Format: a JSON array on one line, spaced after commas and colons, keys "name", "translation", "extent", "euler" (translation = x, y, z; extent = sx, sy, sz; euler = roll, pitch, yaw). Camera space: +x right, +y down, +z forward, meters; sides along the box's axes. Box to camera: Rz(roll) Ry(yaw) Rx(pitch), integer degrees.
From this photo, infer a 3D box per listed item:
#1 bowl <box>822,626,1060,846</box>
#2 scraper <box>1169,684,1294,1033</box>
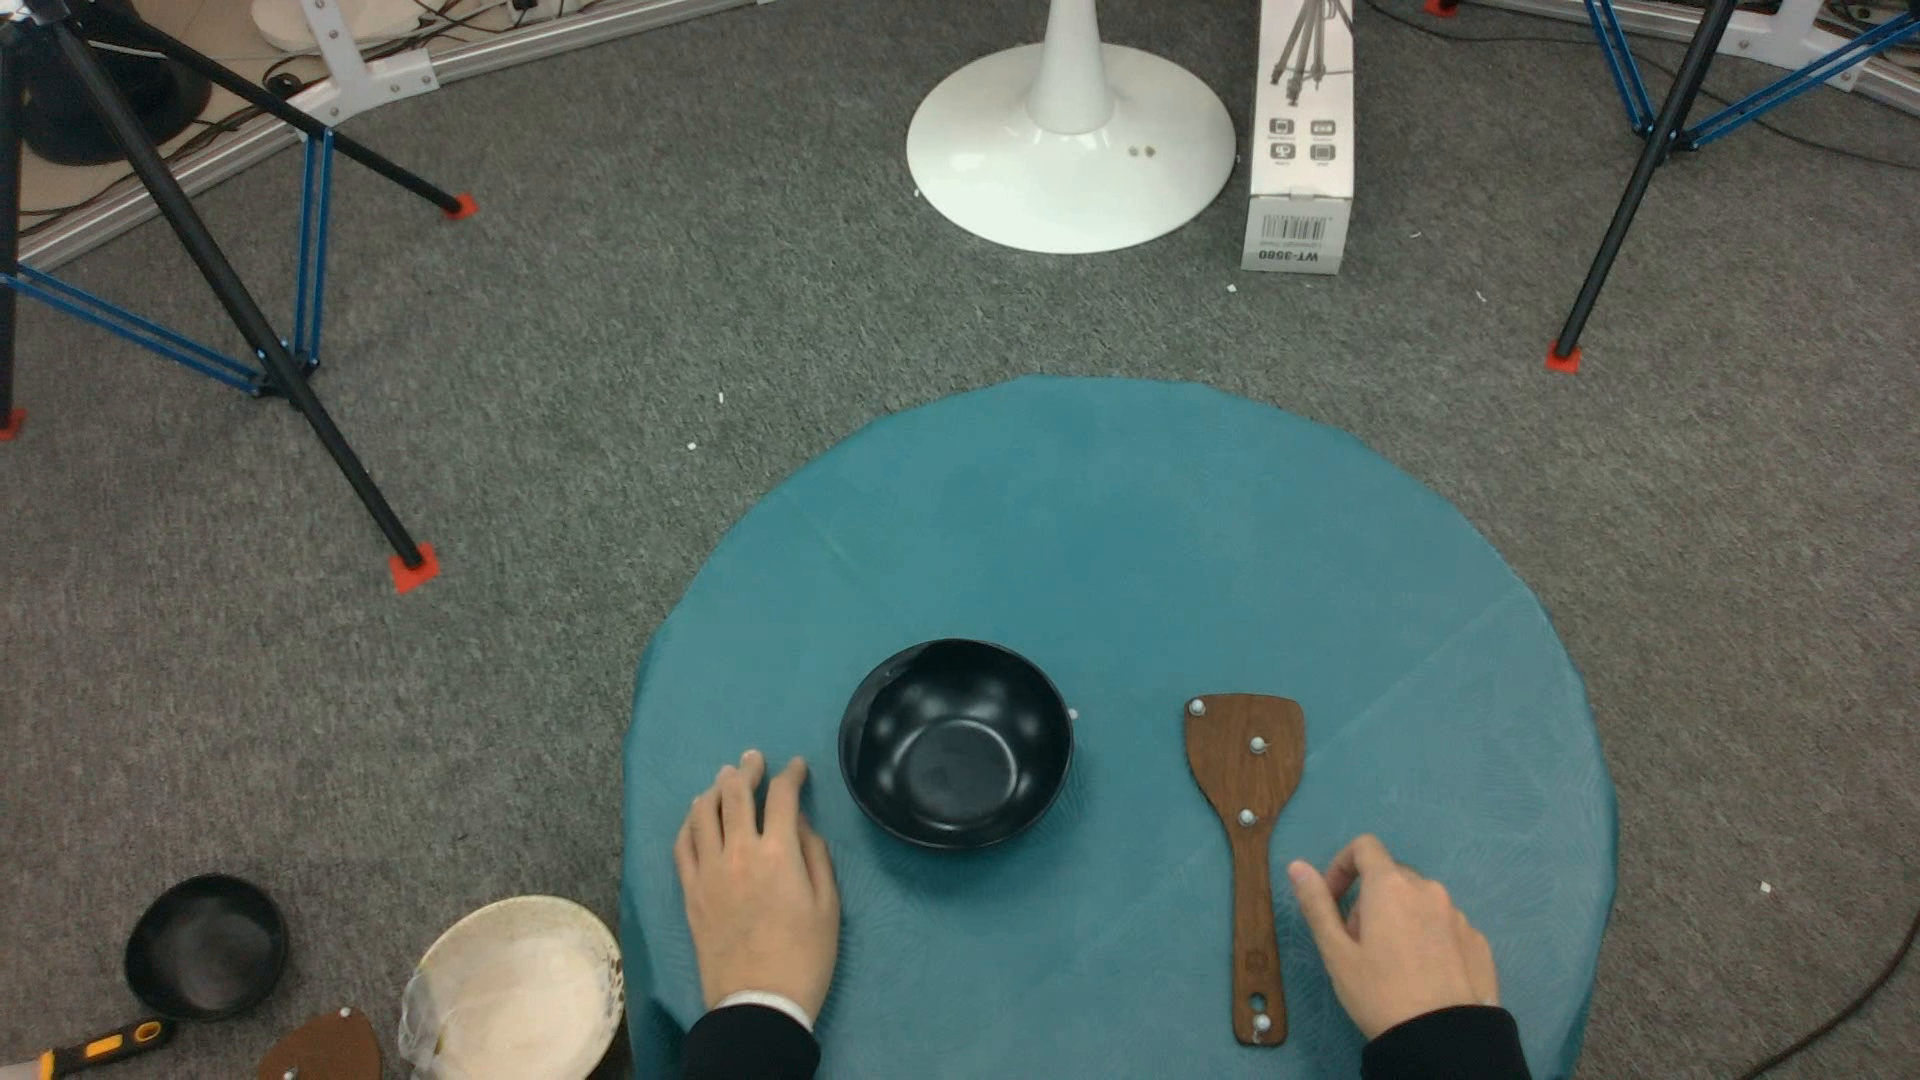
[{"name": "bowl", "translation": [-0.011, 0.122, 0.819], "extent": [0.140, 0.049, 0.140], "euler": [1, 55, -1]}, {"name": "scraper", "translation": [0.160, 0.178, 0.798], "extent": [0.076, 0.011, 0.212], "euler": [2, 54, 5]}]
